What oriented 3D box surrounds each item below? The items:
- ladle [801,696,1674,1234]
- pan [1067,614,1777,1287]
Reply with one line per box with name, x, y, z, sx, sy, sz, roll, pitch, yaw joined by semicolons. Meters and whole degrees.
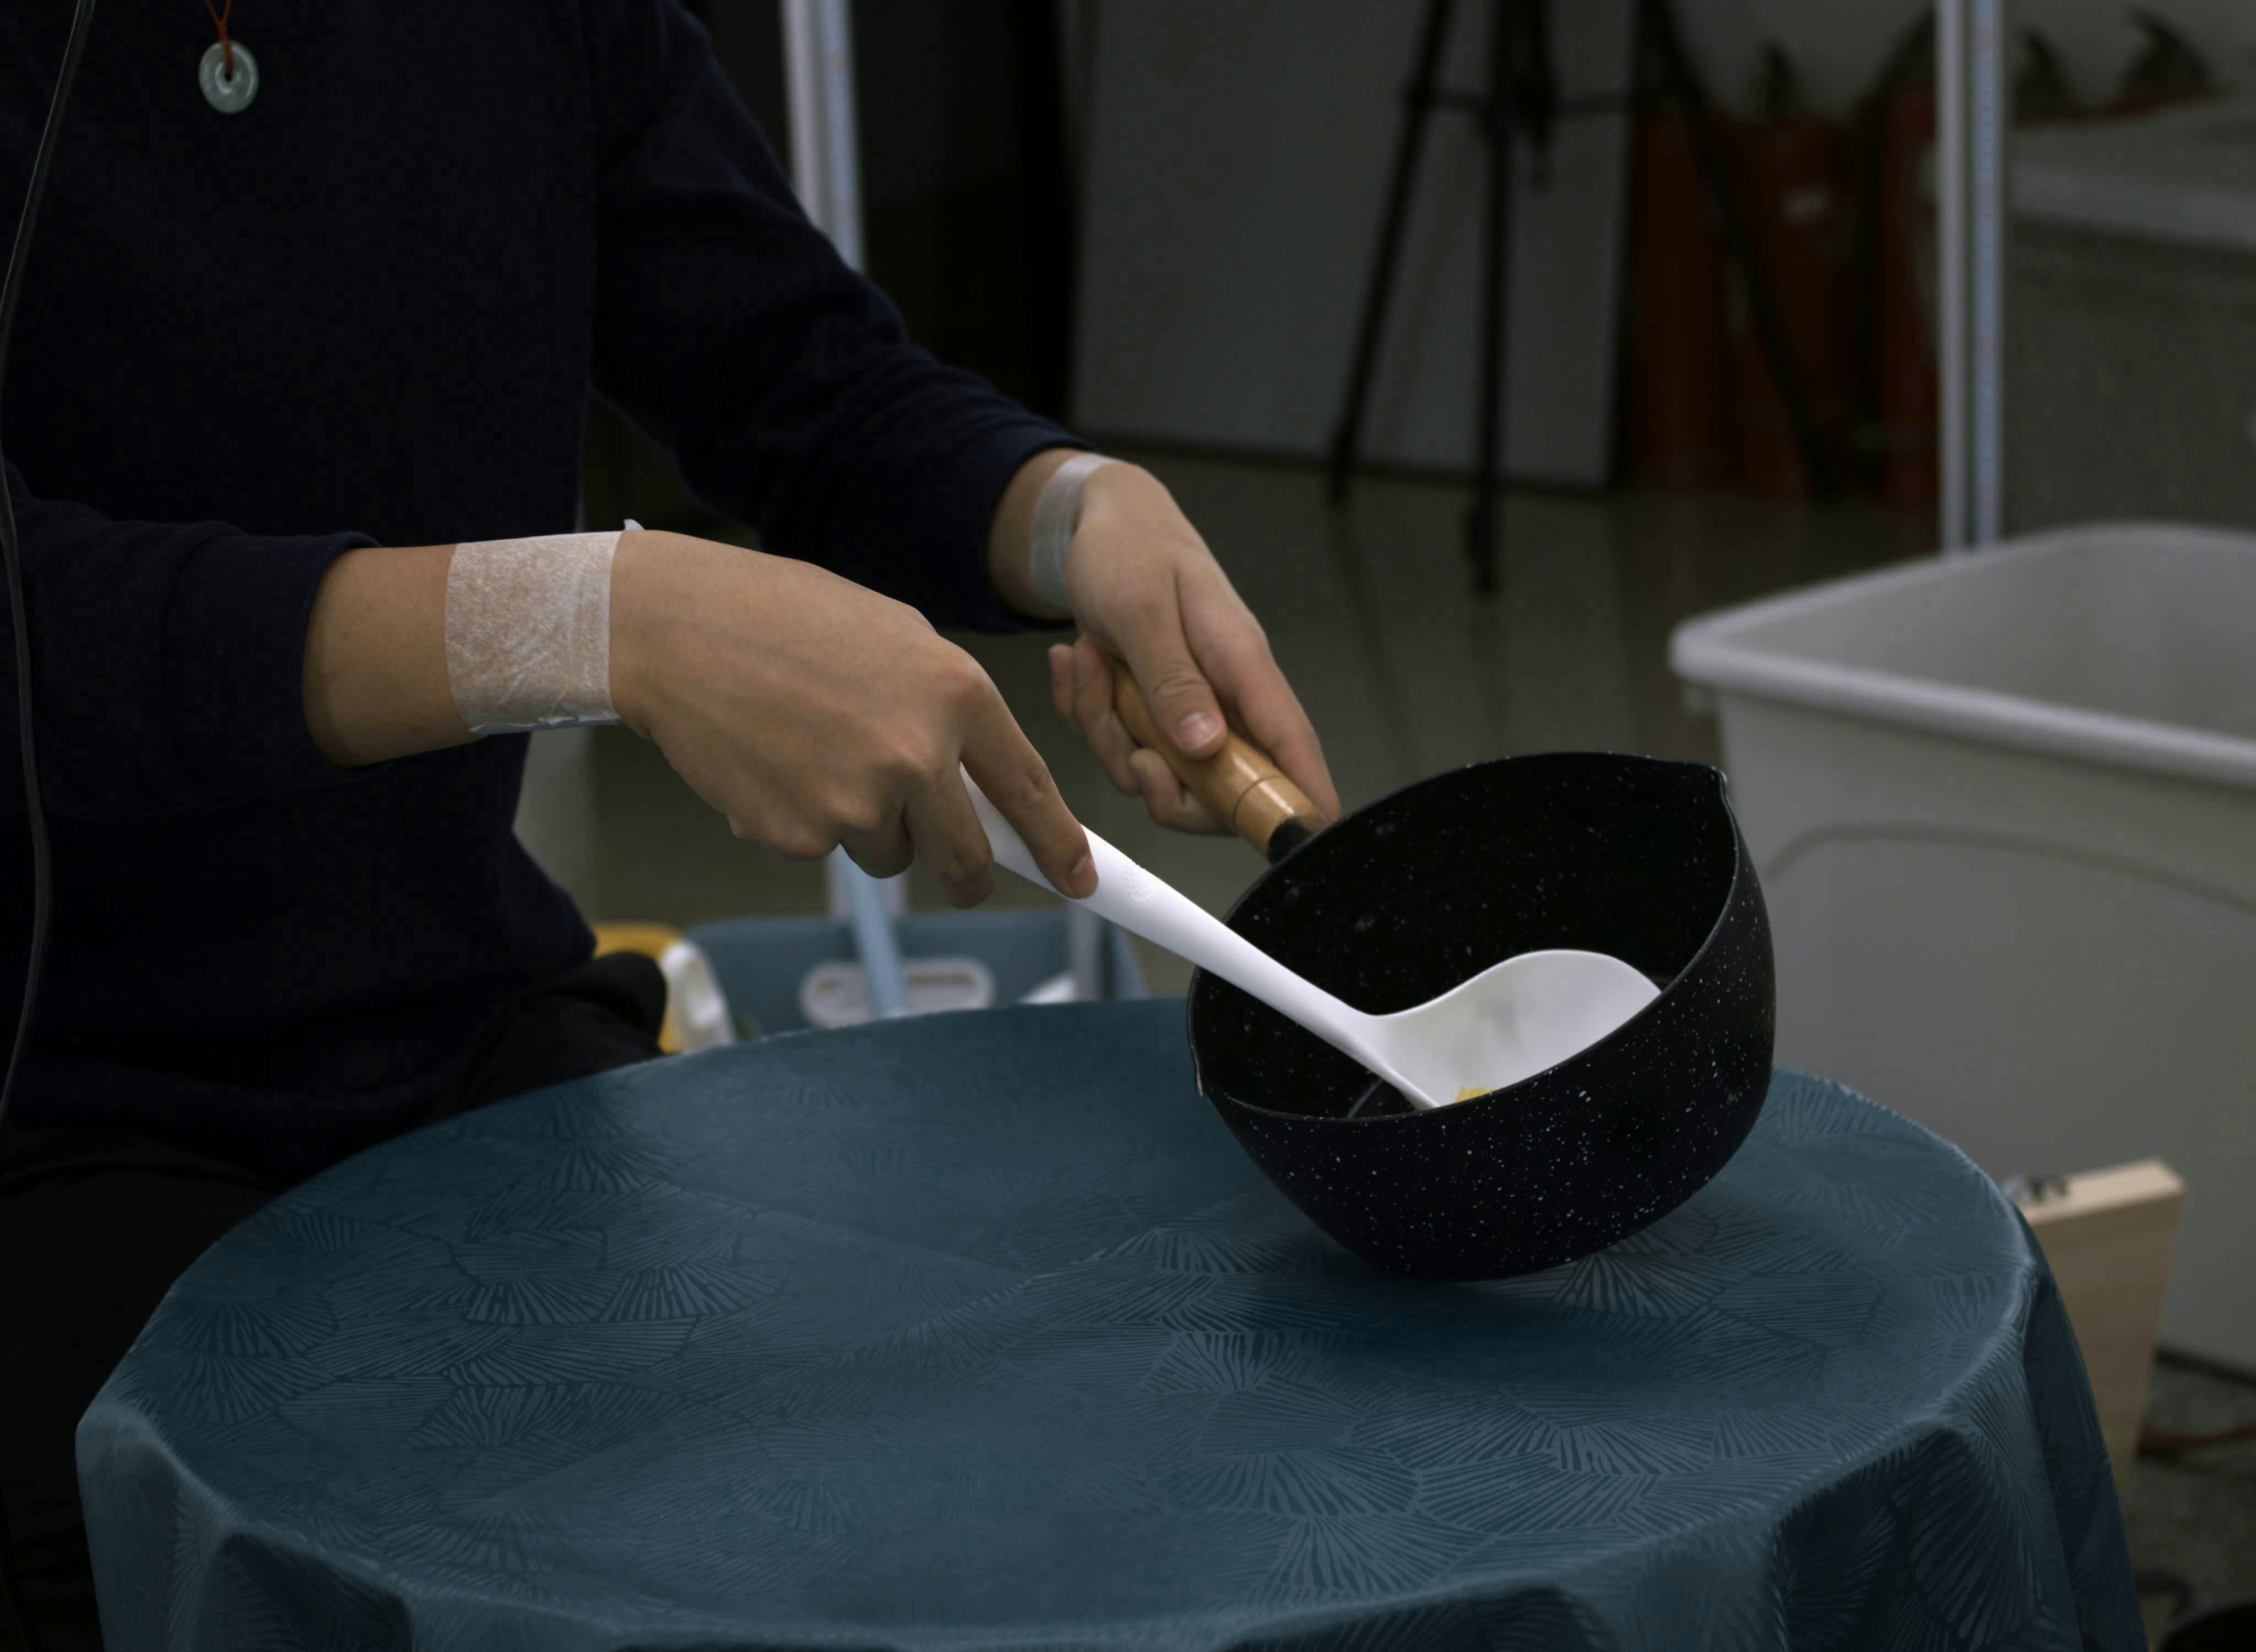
ladle;0.038;0.035;1.598;0.288;0.091;0.070;30;-32;-26
pan;0.077;0.028;1.748;0.205;0.108;0.346;-35;32;-13
